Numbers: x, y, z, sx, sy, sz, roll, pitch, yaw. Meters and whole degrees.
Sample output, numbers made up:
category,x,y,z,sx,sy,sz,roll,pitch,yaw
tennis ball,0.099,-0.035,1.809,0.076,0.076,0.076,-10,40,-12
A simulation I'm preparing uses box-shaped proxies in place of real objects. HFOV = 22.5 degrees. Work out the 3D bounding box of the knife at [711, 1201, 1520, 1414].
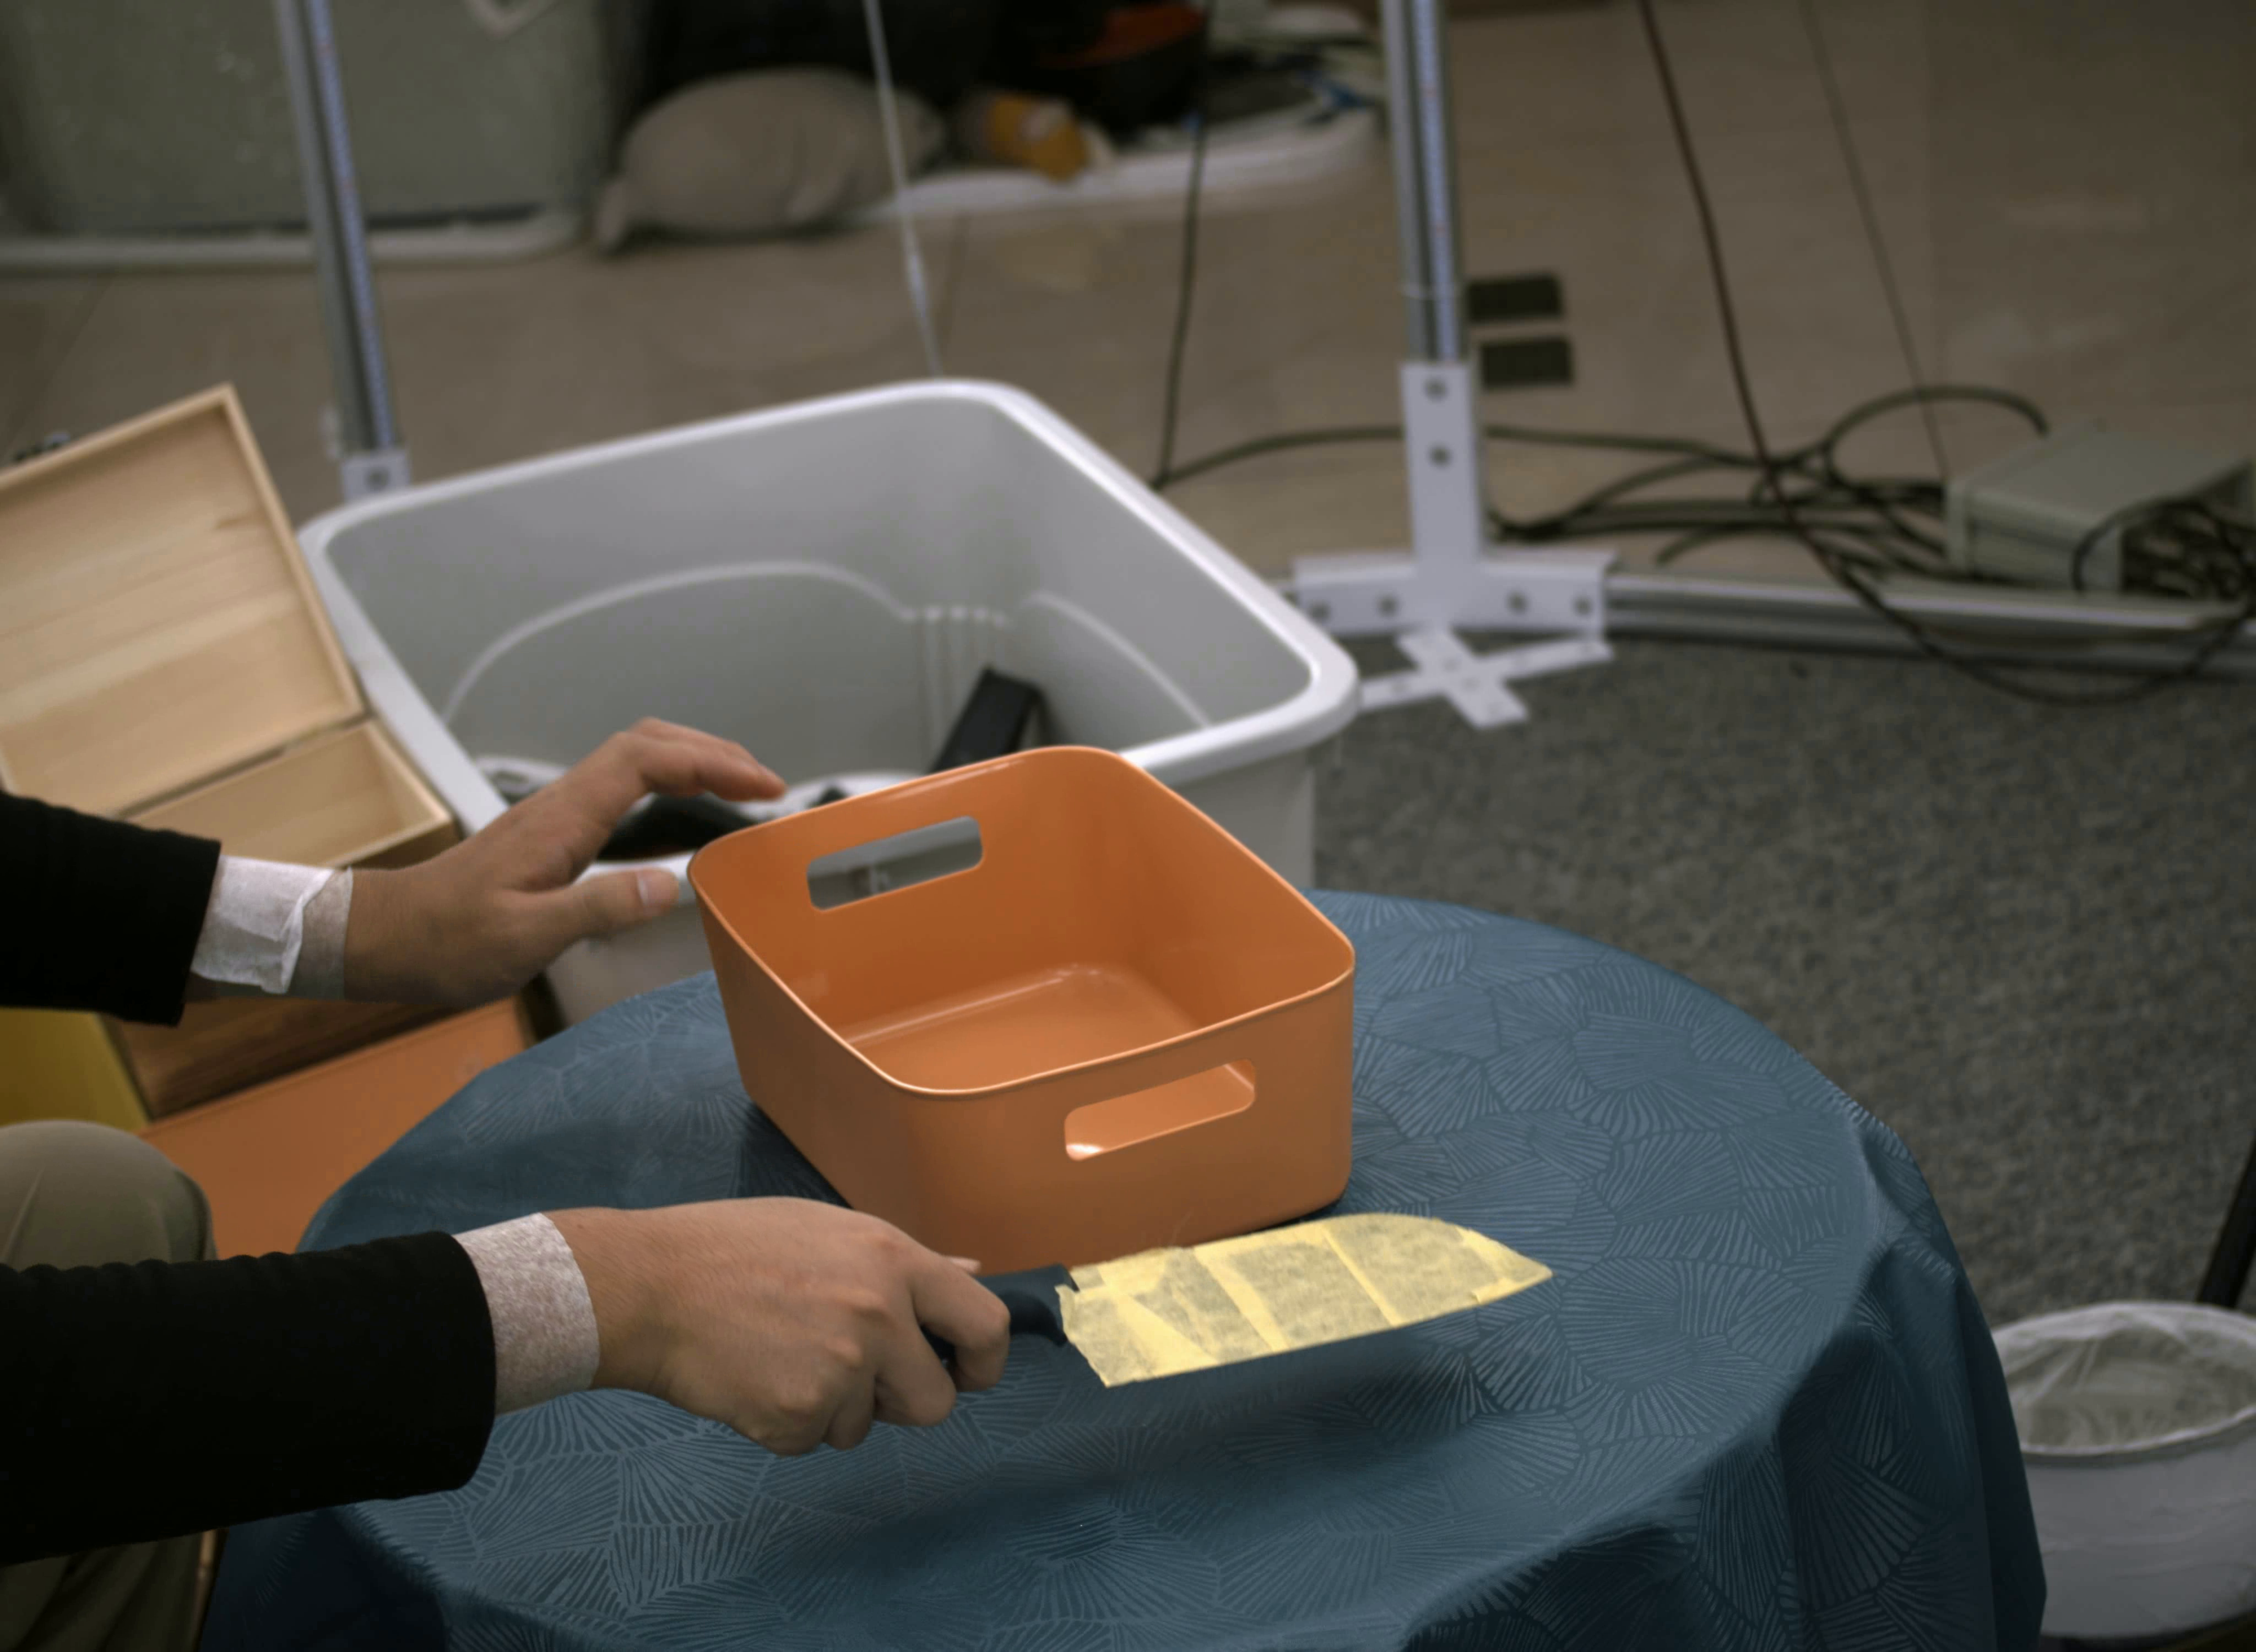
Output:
category,x,y,z,sx,sy,sz,roll,pitch,yaw
knife,0.000,0.167,1.953,0.288,0.027,0.080,-10,26,-15

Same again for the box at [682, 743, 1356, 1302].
category,x,y,z,sx,sy,sz,roll,pitch,yaw
box,-0.042,0.075,2.170,0.198,0.104,0.270,-15,27,-20
